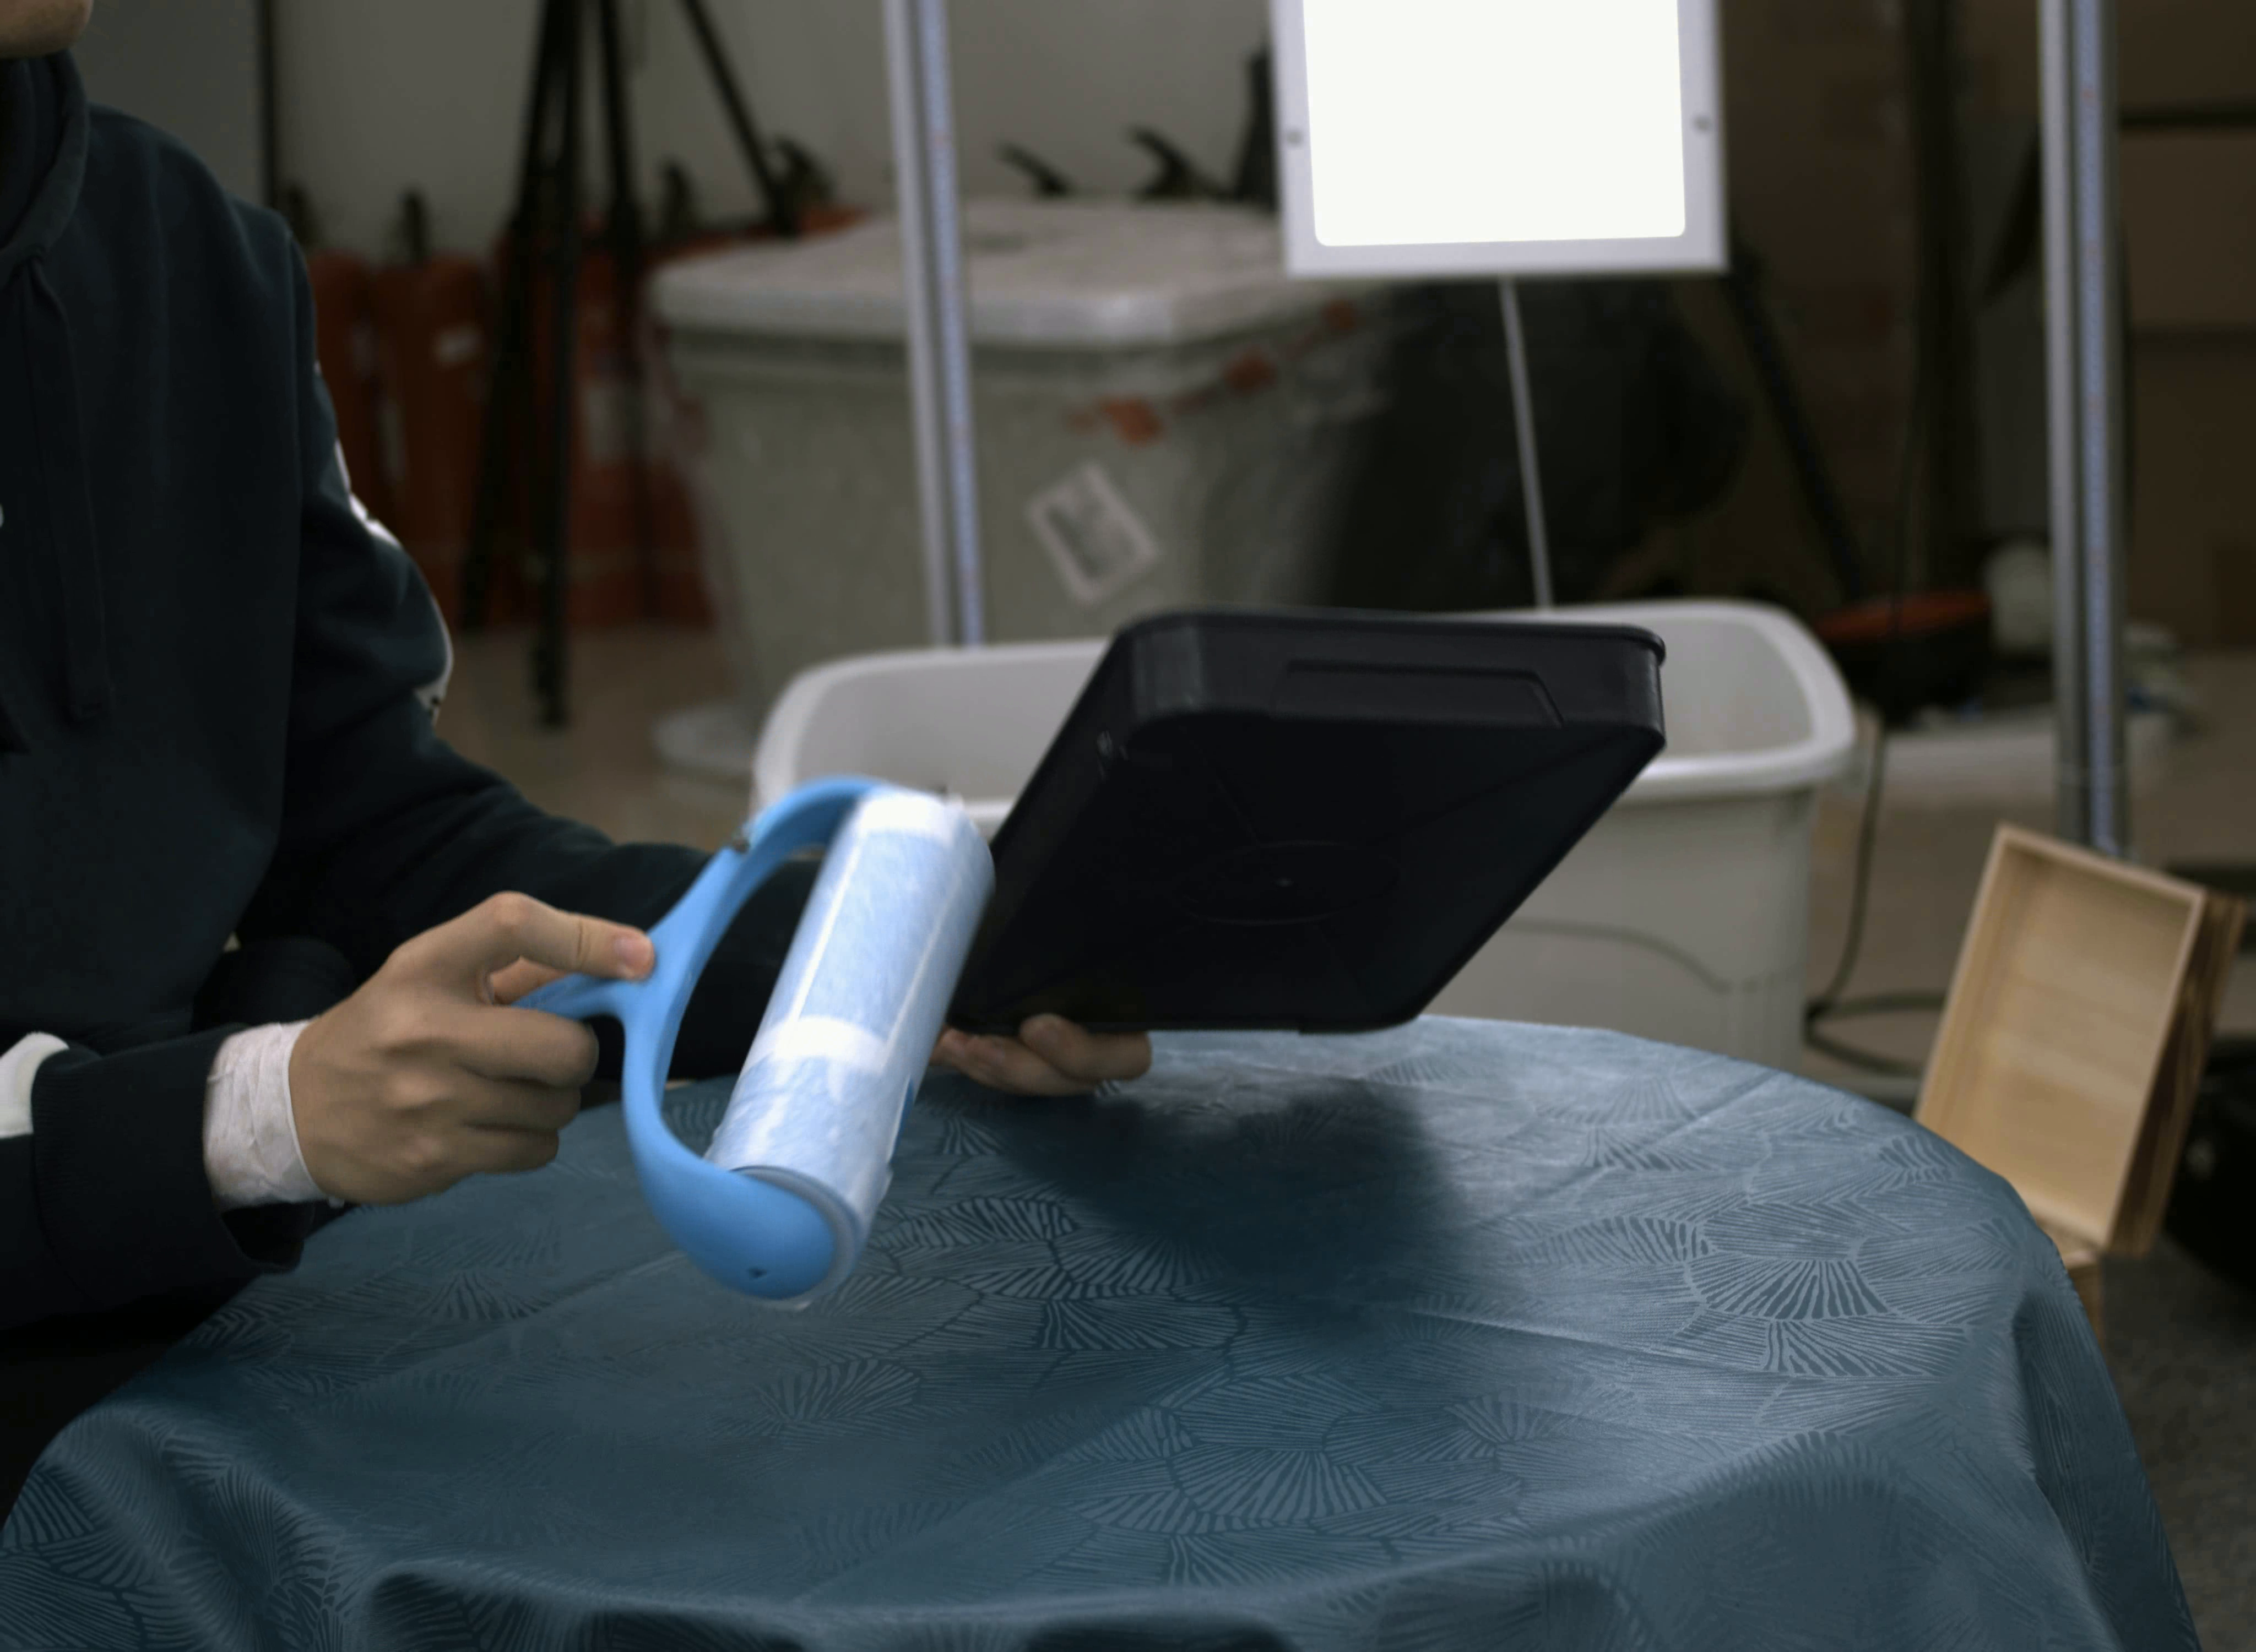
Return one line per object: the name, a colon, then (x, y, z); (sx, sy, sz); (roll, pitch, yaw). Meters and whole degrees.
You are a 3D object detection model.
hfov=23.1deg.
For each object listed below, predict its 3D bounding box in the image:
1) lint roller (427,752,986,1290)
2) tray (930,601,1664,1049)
lint roller: (-0.143, 0.066, 1.720); (0.182, 0.068, 0.227); (-8, 37, 14)
tray: (0.050, 0.006, 1.869); (0.182, 0.037, 0.322); (3, -22, -14)
